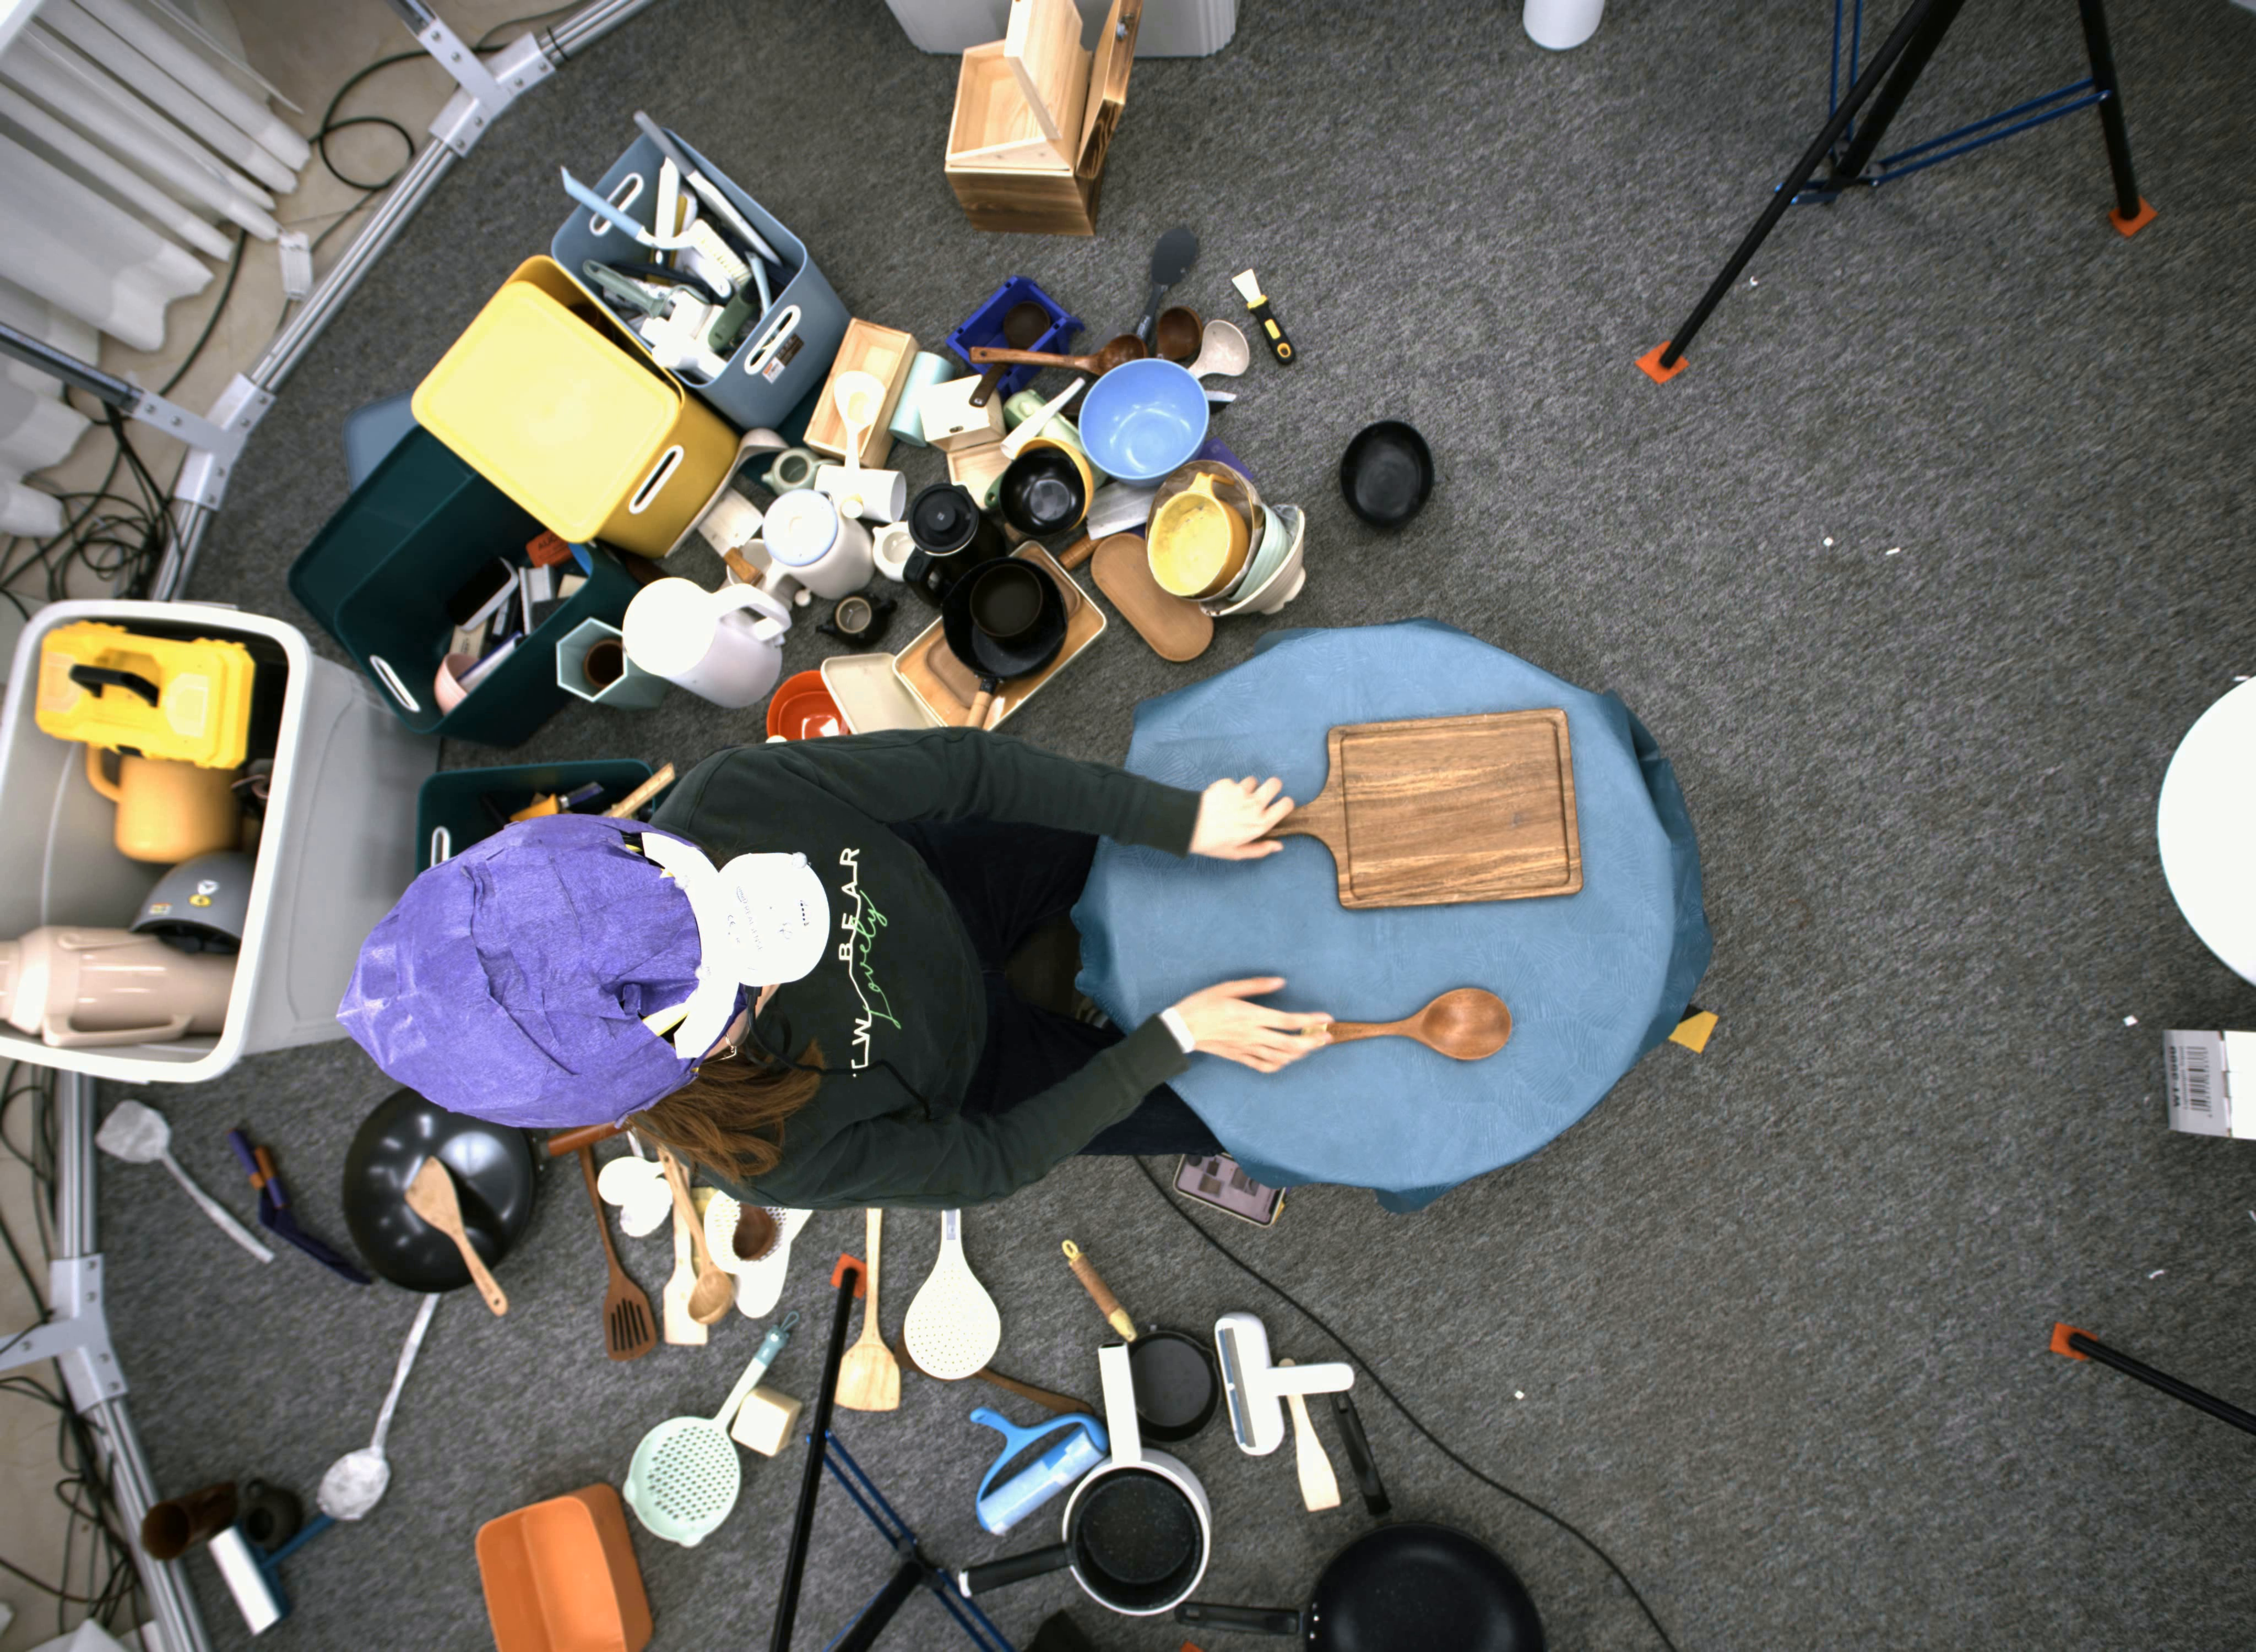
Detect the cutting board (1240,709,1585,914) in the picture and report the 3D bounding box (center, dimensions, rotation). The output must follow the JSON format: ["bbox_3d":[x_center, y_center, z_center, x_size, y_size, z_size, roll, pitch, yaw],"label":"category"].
[{"bbox_3d":[0.294,-0.013,1.457,0.354,0.023,0.200,-5,86,10],"label":"cutting board"}]

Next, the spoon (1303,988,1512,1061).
[{"bbox_3d":[0.291,0.210,1.442,0.217,0.017,0.075,-6,87,9],"label":"spoon"}]
